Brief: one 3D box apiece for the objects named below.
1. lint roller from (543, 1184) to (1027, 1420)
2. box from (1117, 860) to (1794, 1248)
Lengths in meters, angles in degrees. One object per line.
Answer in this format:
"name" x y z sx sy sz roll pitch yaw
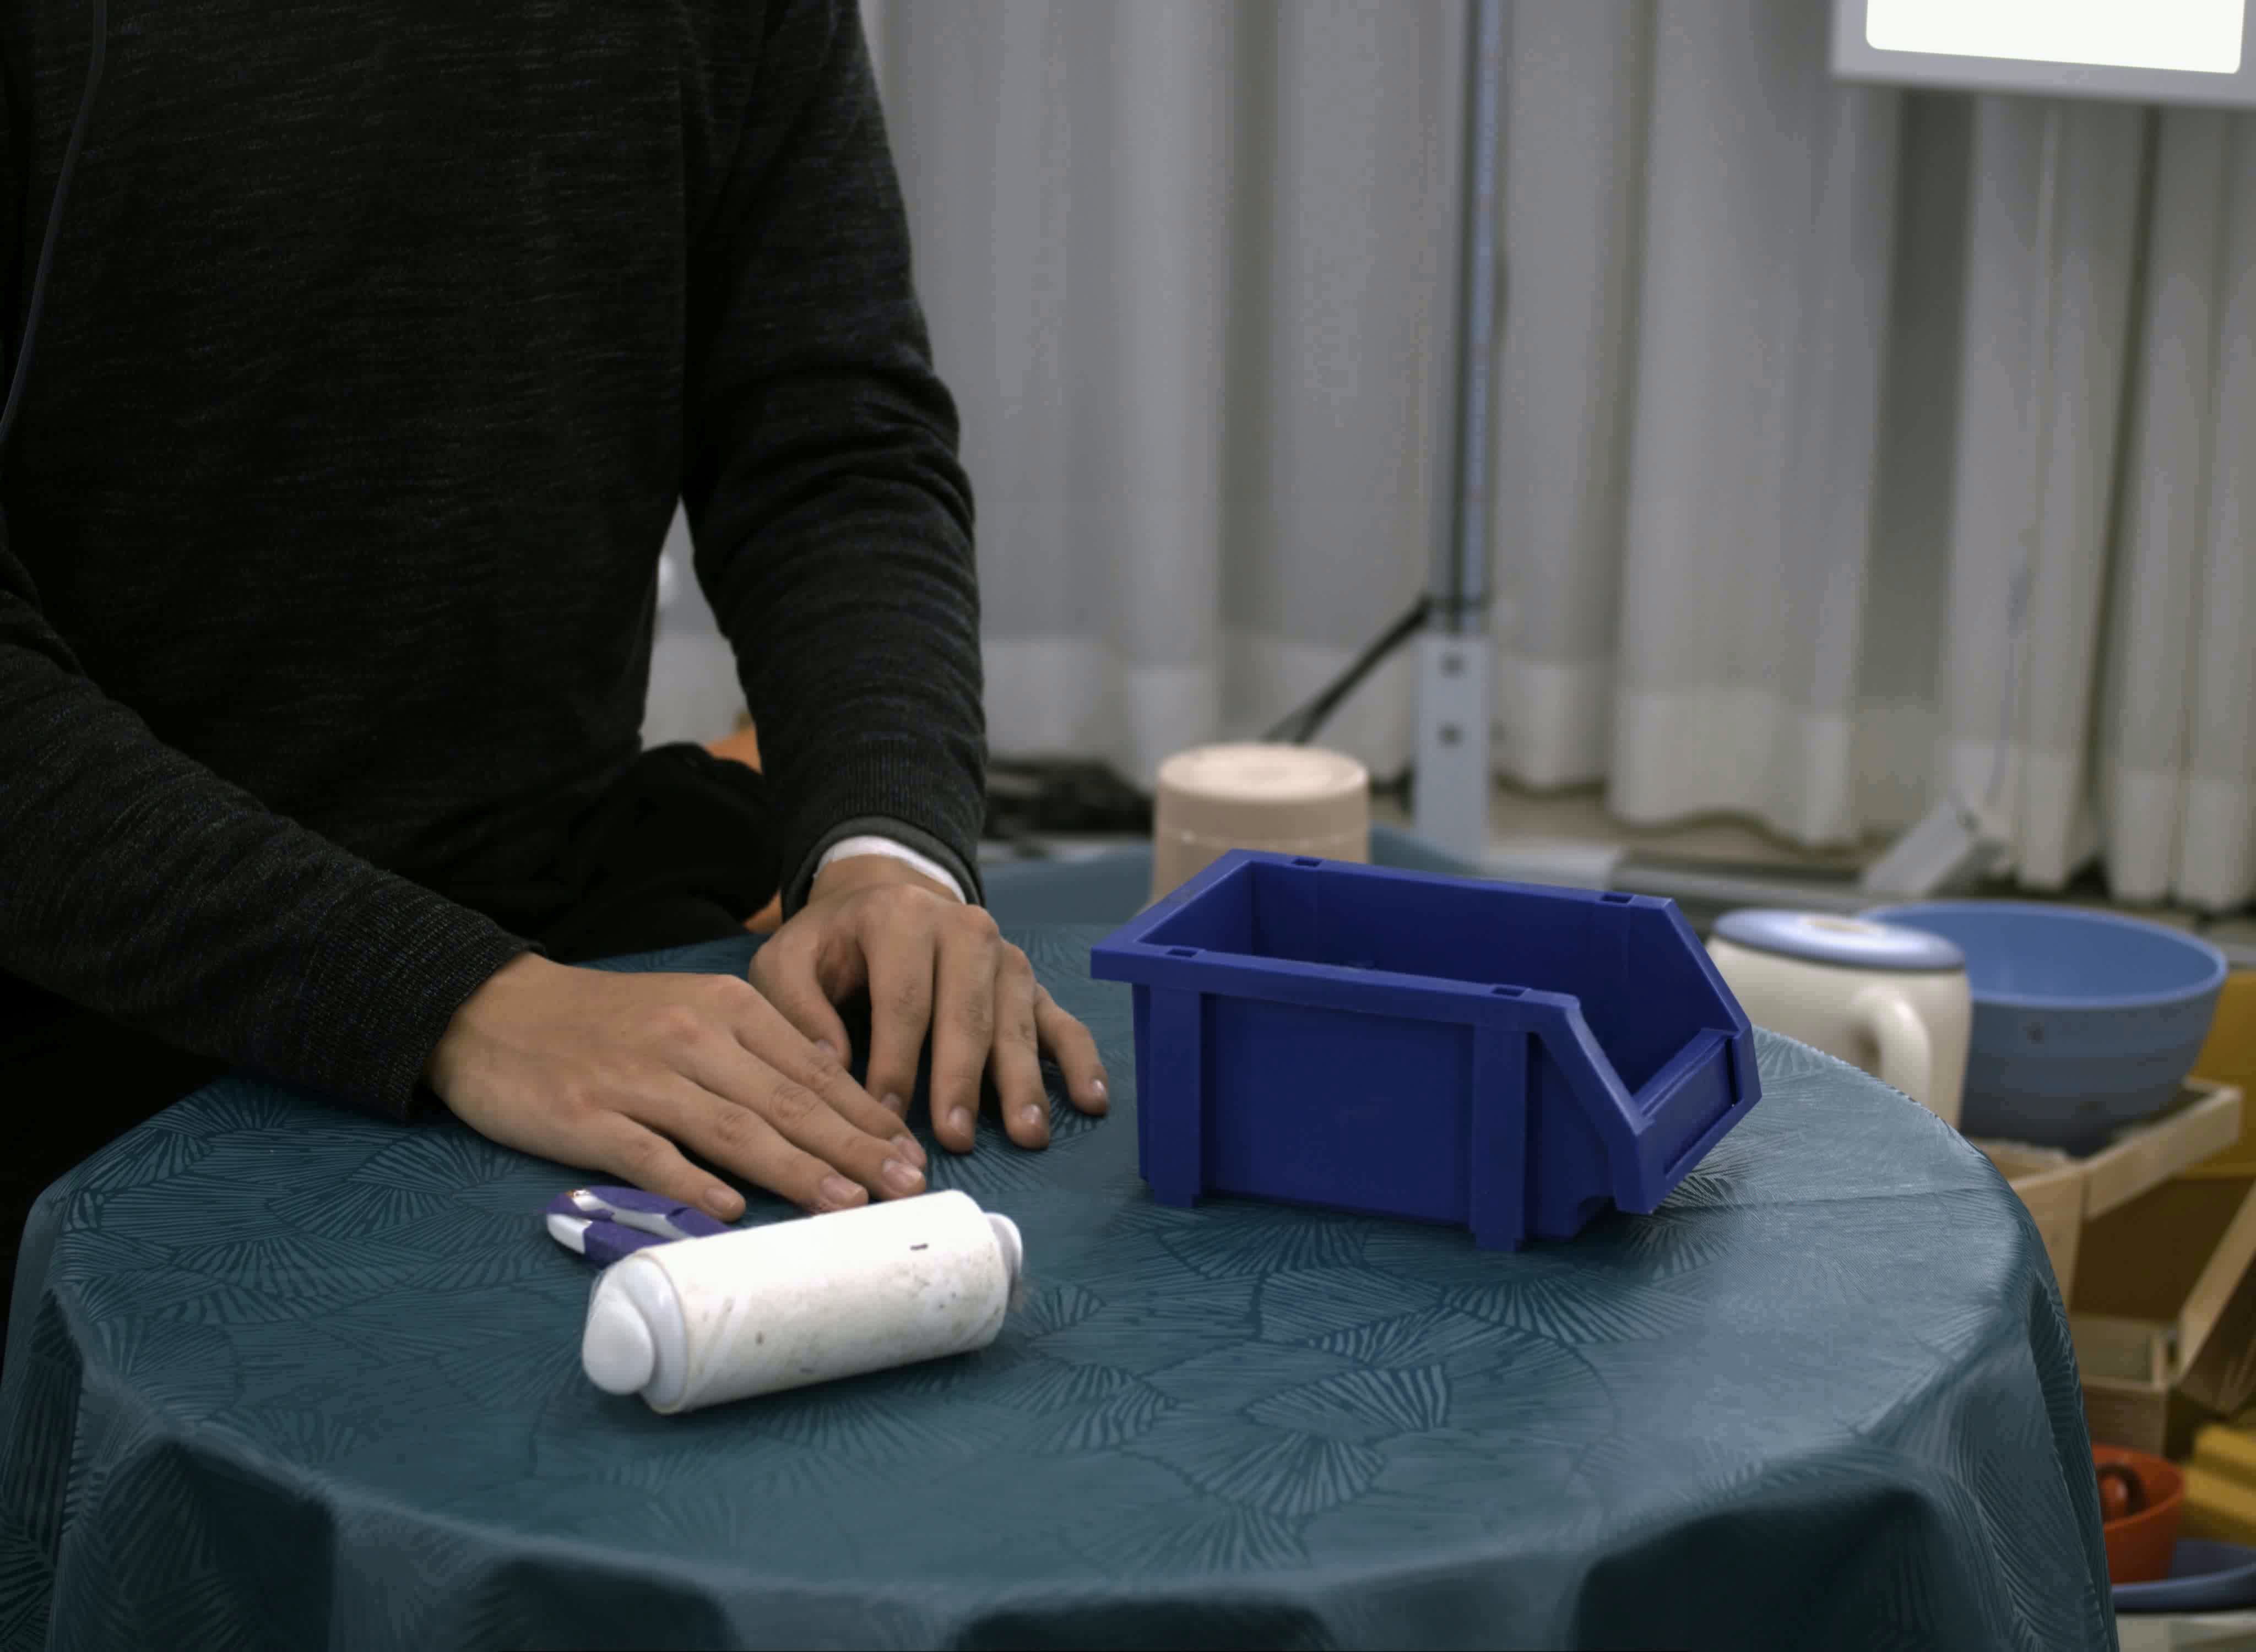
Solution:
"lint roller" -0.121 0.117 1.514 0.133 0.050 0.178 -10 20 -29
"box" 0.104 0.069 1.627 0.177 0.082 0.125 4 15 23
